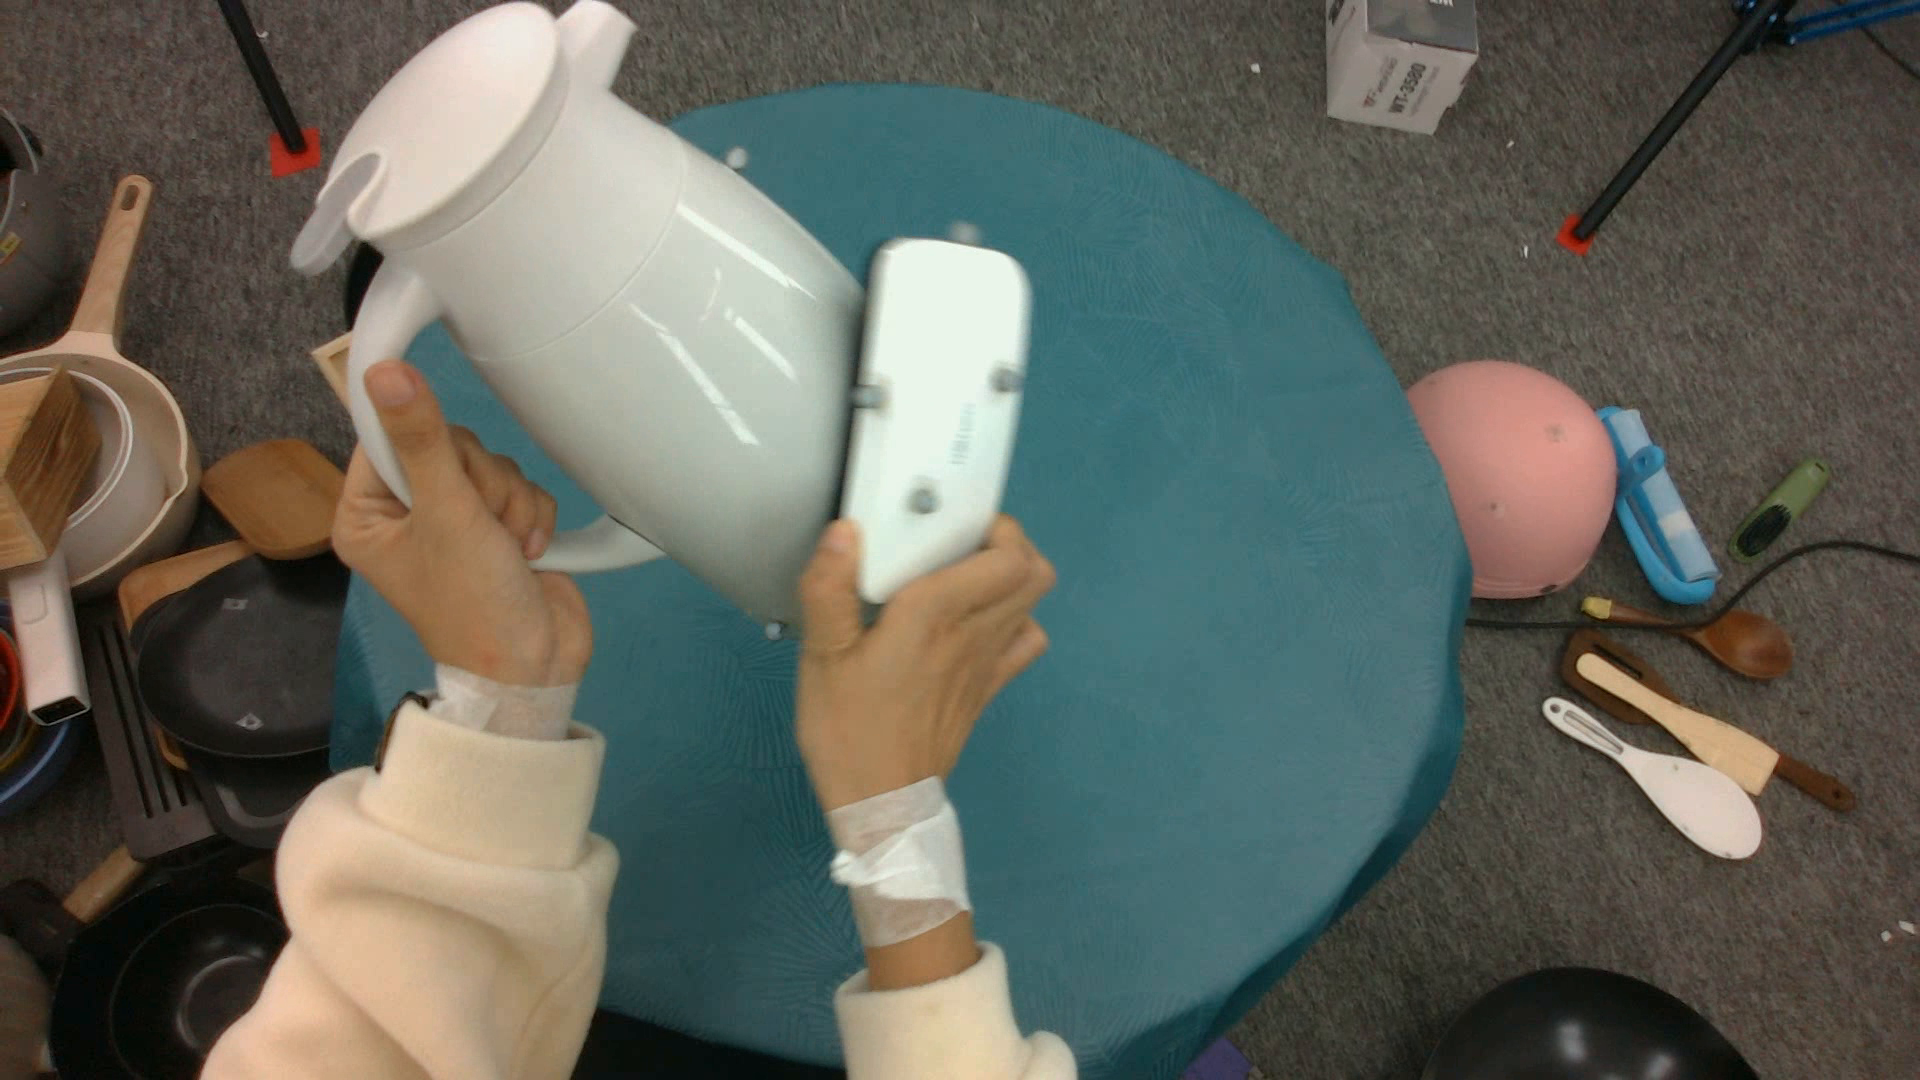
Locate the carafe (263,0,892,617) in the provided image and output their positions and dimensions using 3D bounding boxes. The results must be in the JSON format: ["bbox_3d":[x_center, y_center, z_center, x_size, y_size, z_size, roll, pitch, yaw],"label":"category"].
[{"bbox_3d":[-0.122,-0.065,0.500,0.132,0.248,0.168,27,80,39],"label":"carafe"}]

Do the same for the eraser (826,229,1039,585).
[{"bbox_3d":[-0.010,-0.048,0.512,0.034,0.063,0.131,20,100,41],"label":"eraser"}]
